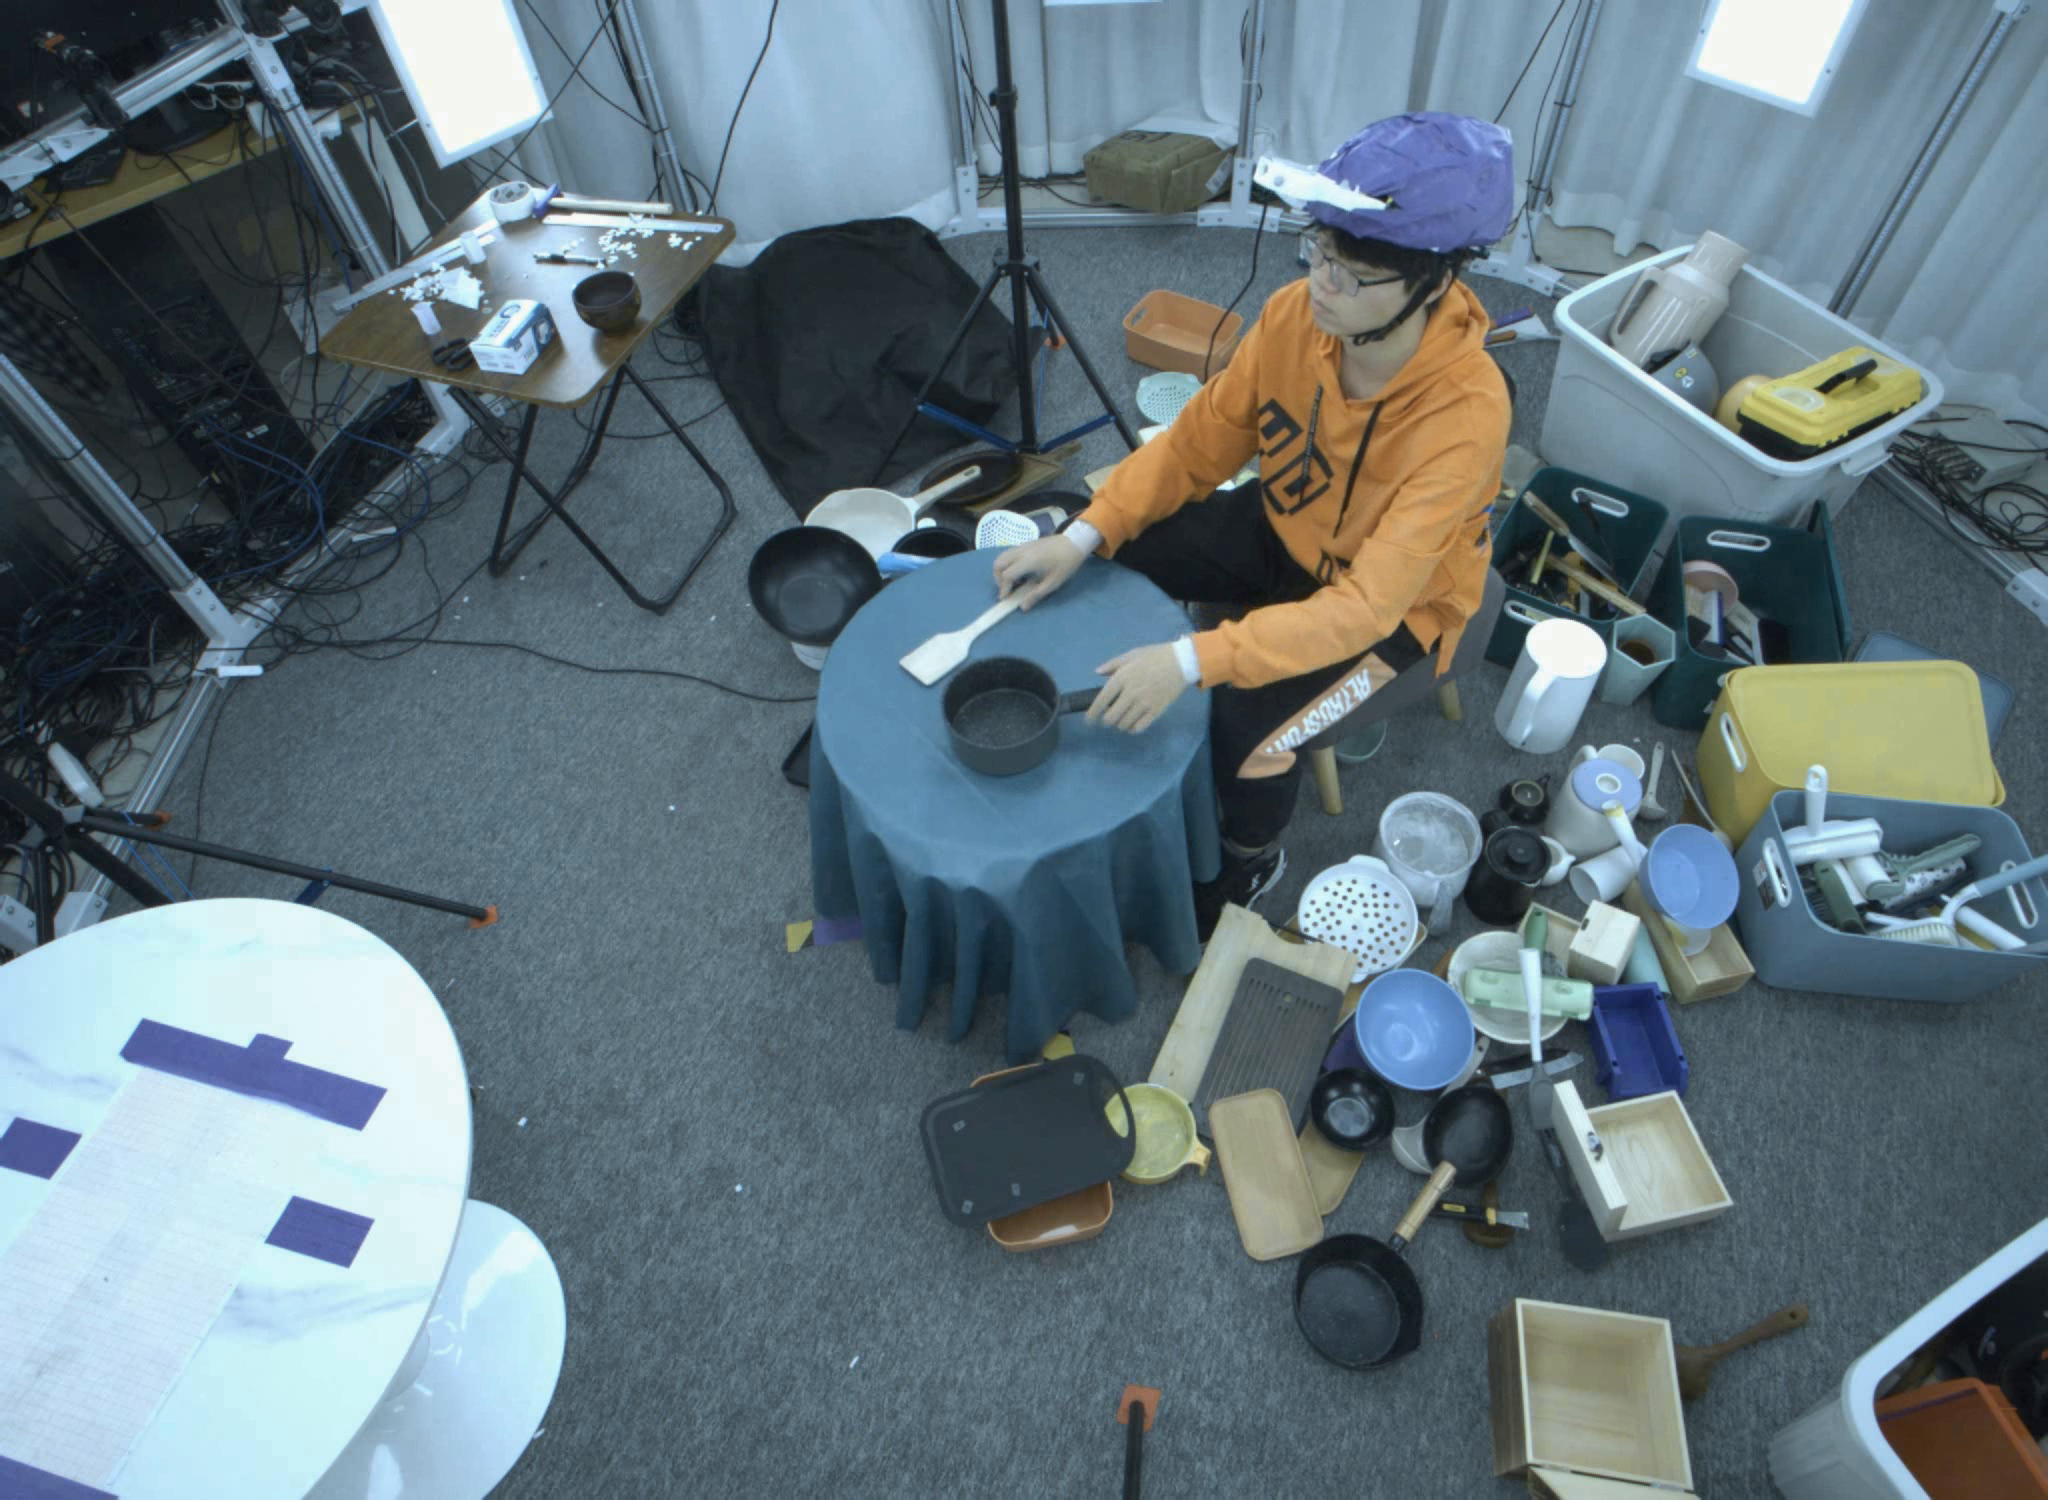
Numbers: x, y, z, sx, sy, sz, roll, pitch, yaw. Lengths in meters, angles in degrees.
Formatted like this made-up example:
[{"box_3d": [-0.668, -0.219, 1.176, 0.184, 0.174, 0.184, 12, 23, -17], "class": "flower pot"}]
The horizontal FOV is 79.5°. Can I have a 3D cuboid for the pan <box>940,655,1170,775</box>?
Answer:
[{"box_3d": [0.047, -0.056, 1.773, 0.328, 0.087, 0.170, -4, 55, 2], "class": "pan"}]

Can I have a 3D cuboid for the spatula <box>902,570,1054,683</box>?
[{"box_3d": [-0.064, -0.202, 1.926, 0.295, 0.011, 0.071, -39, 59, -23], "class": "spatula"}]
